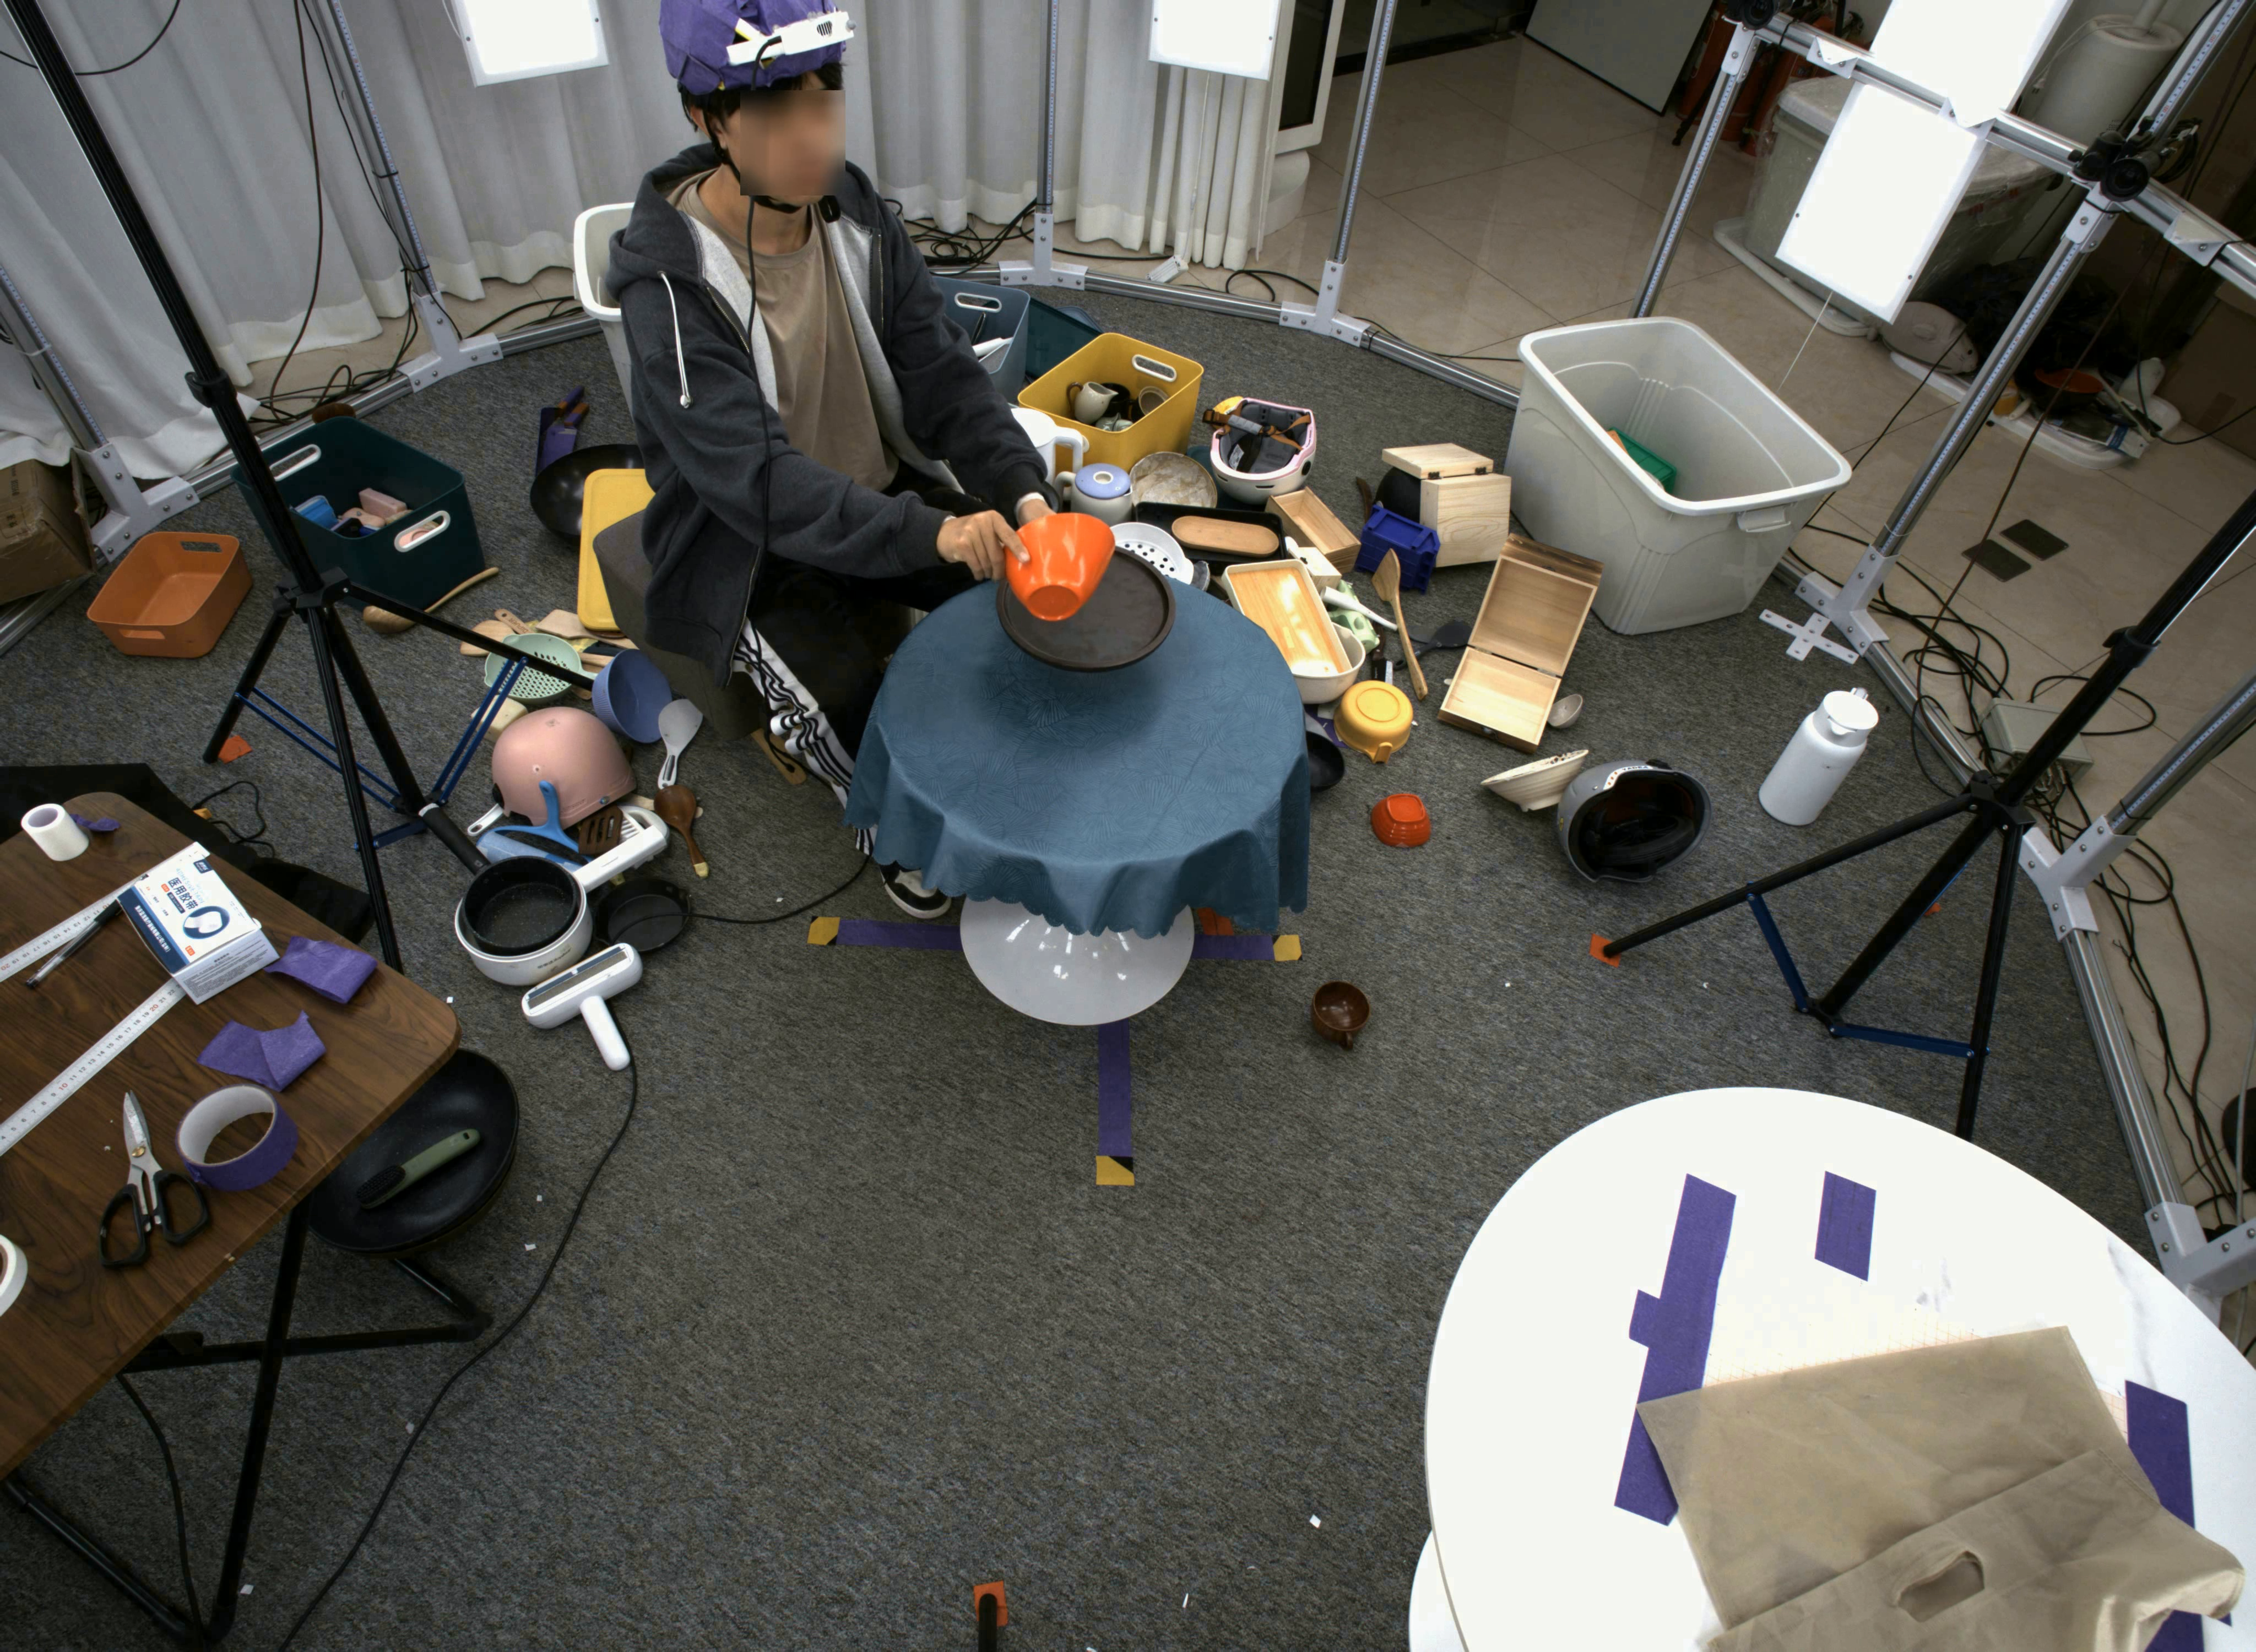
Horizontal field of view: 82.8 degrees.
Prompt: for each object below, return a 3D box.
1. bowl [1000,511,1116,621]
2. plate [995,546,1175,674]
[{"bbox_3d":[-0.086,-0.314,1.612,0.148,0.145,0.107,0,57,-5],"label":"bowl"},{"bbox_3d":[-0.060,-0.309,1.808,0.254,0.028,0.261,2,53,-3],"label":"plate"}]
